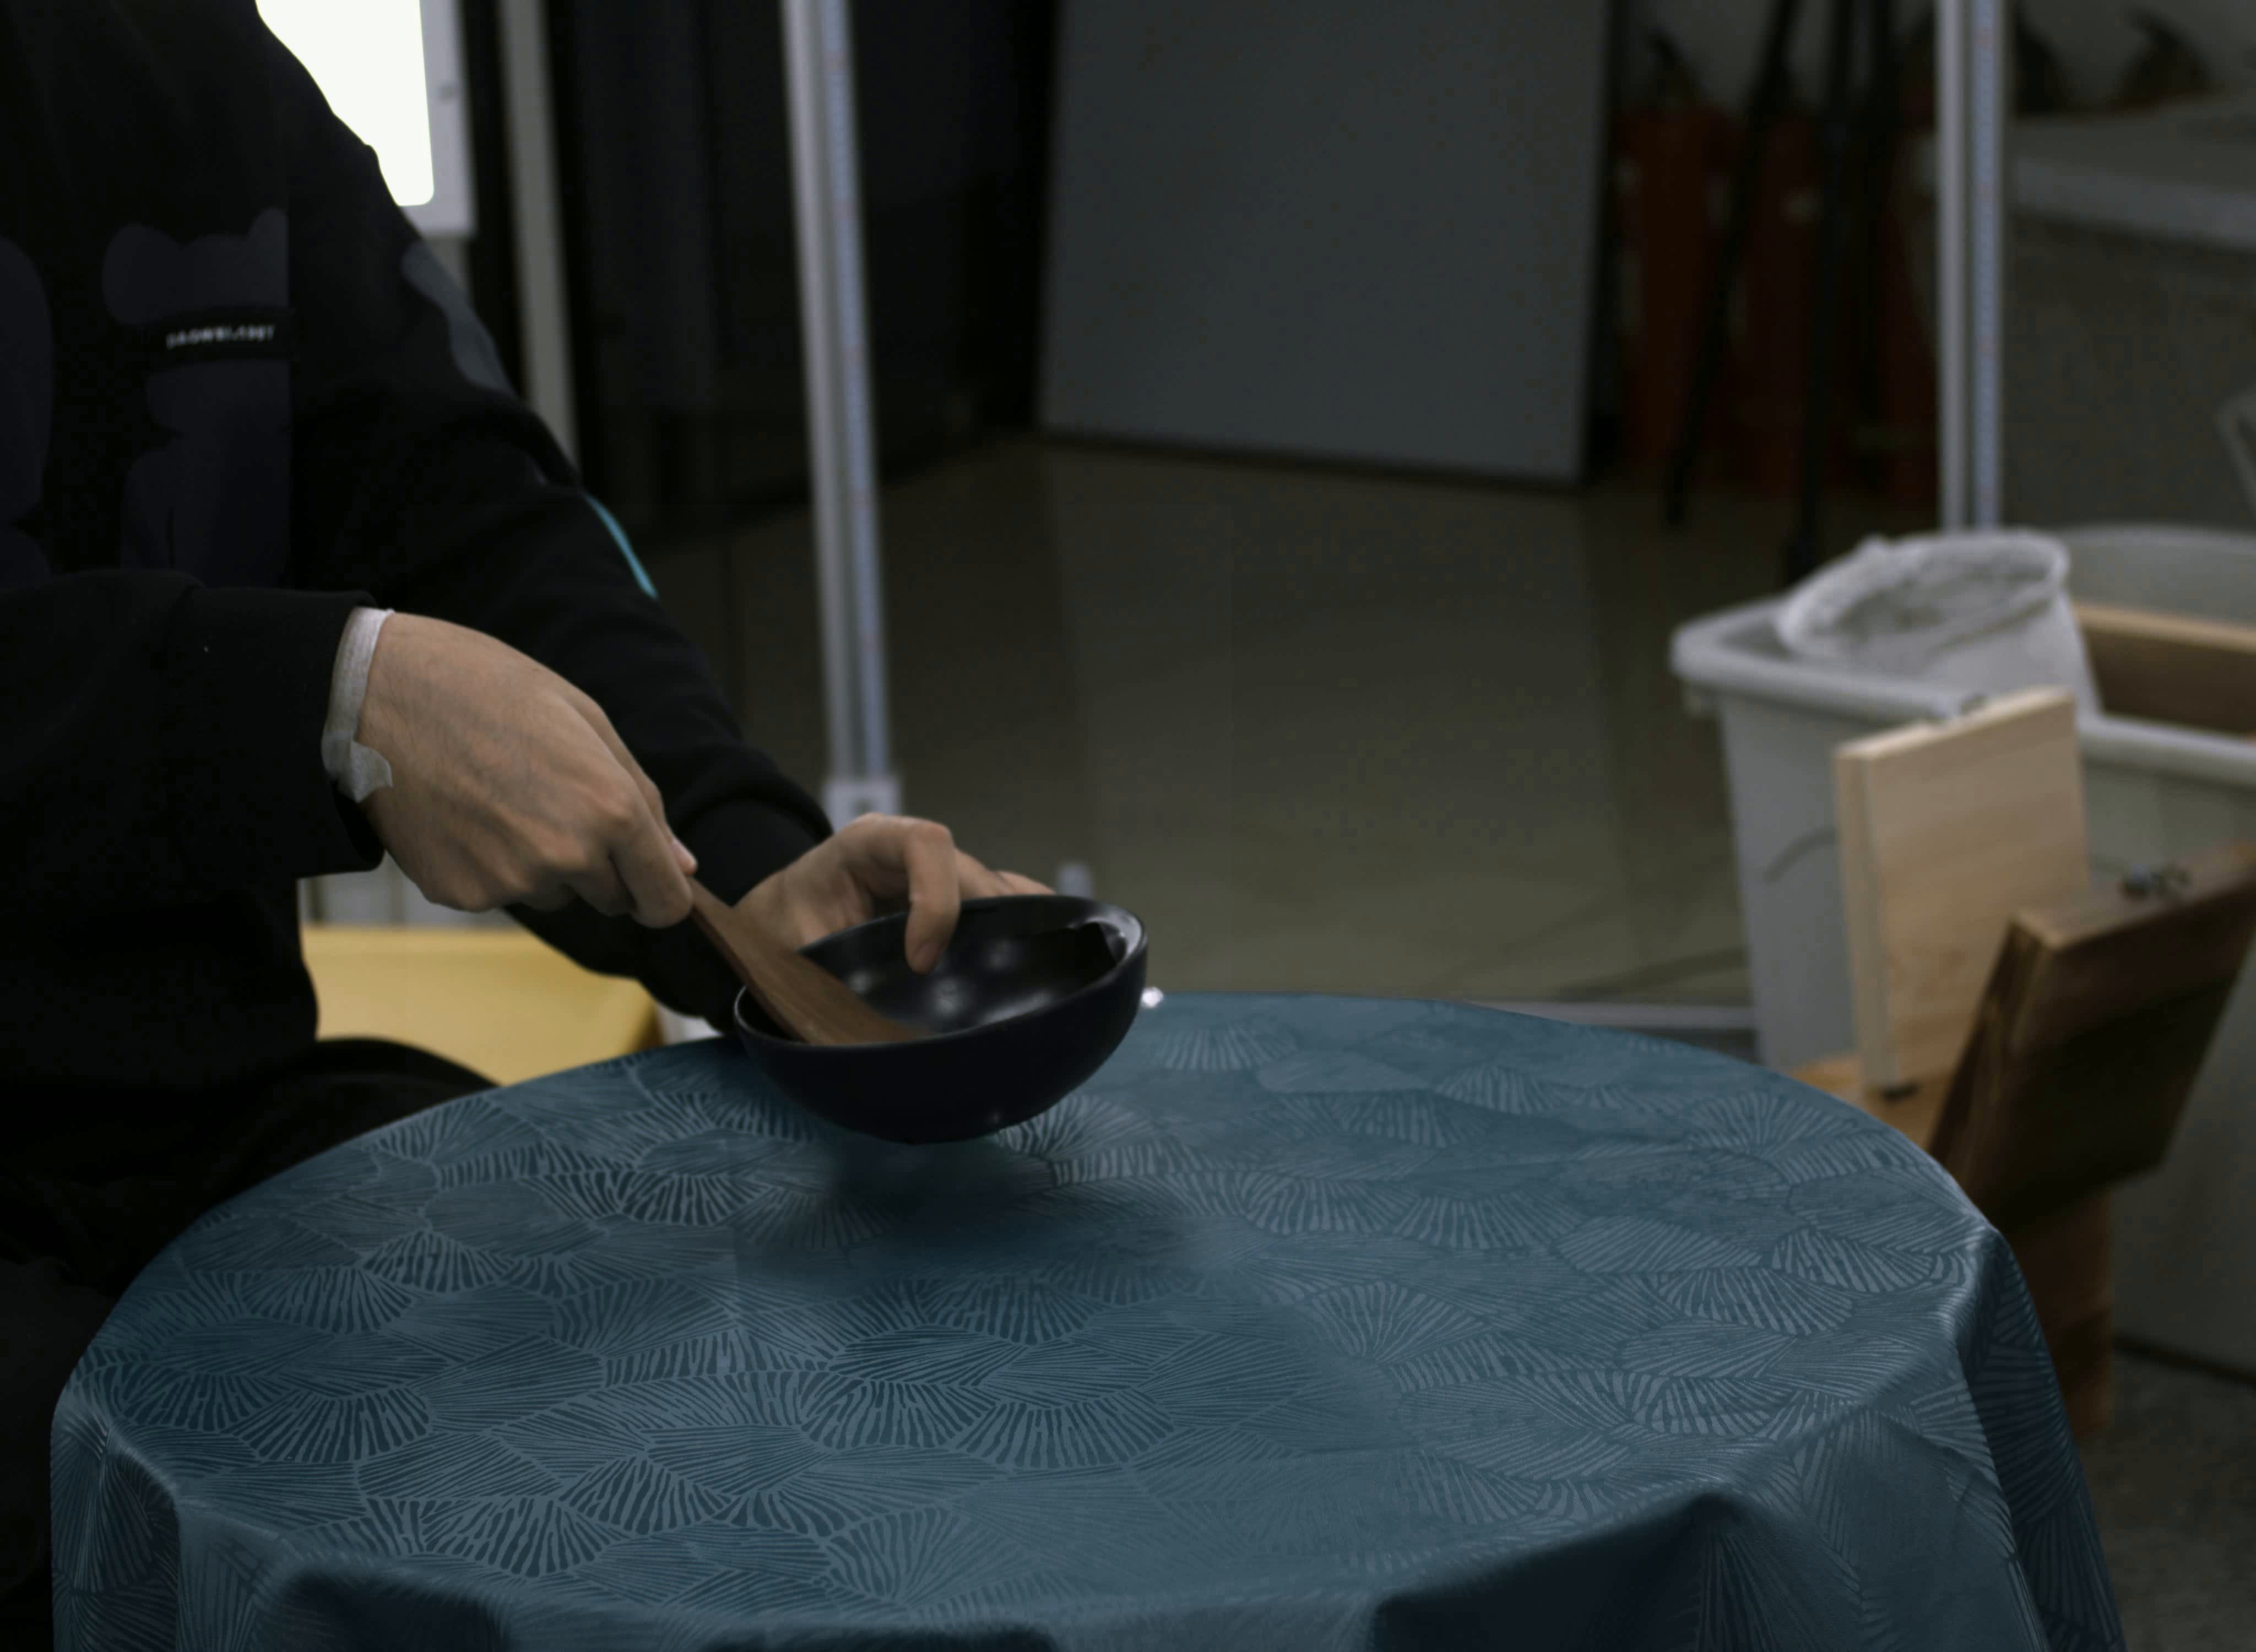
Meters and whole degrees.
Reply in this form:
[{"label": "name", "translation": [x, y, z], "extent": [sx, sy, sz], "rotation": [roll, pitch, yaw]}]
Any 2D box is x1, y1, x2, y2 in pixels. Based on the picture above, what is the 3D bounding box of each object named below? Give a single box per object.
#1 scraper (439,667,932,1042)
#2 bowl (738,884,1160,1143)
[{"label": "scraper", "translation": [-0.144, 0.020, 1.771], "extent": [0.211, 0.011, 0.075], "rotation": [41, 15, 0]}, {"label": "bowl", "translation": [-0.057, 0.067, 1.760], "extent": [0.138, 0.050, 0.140], "rotation": [-4, 20, 0]}]
